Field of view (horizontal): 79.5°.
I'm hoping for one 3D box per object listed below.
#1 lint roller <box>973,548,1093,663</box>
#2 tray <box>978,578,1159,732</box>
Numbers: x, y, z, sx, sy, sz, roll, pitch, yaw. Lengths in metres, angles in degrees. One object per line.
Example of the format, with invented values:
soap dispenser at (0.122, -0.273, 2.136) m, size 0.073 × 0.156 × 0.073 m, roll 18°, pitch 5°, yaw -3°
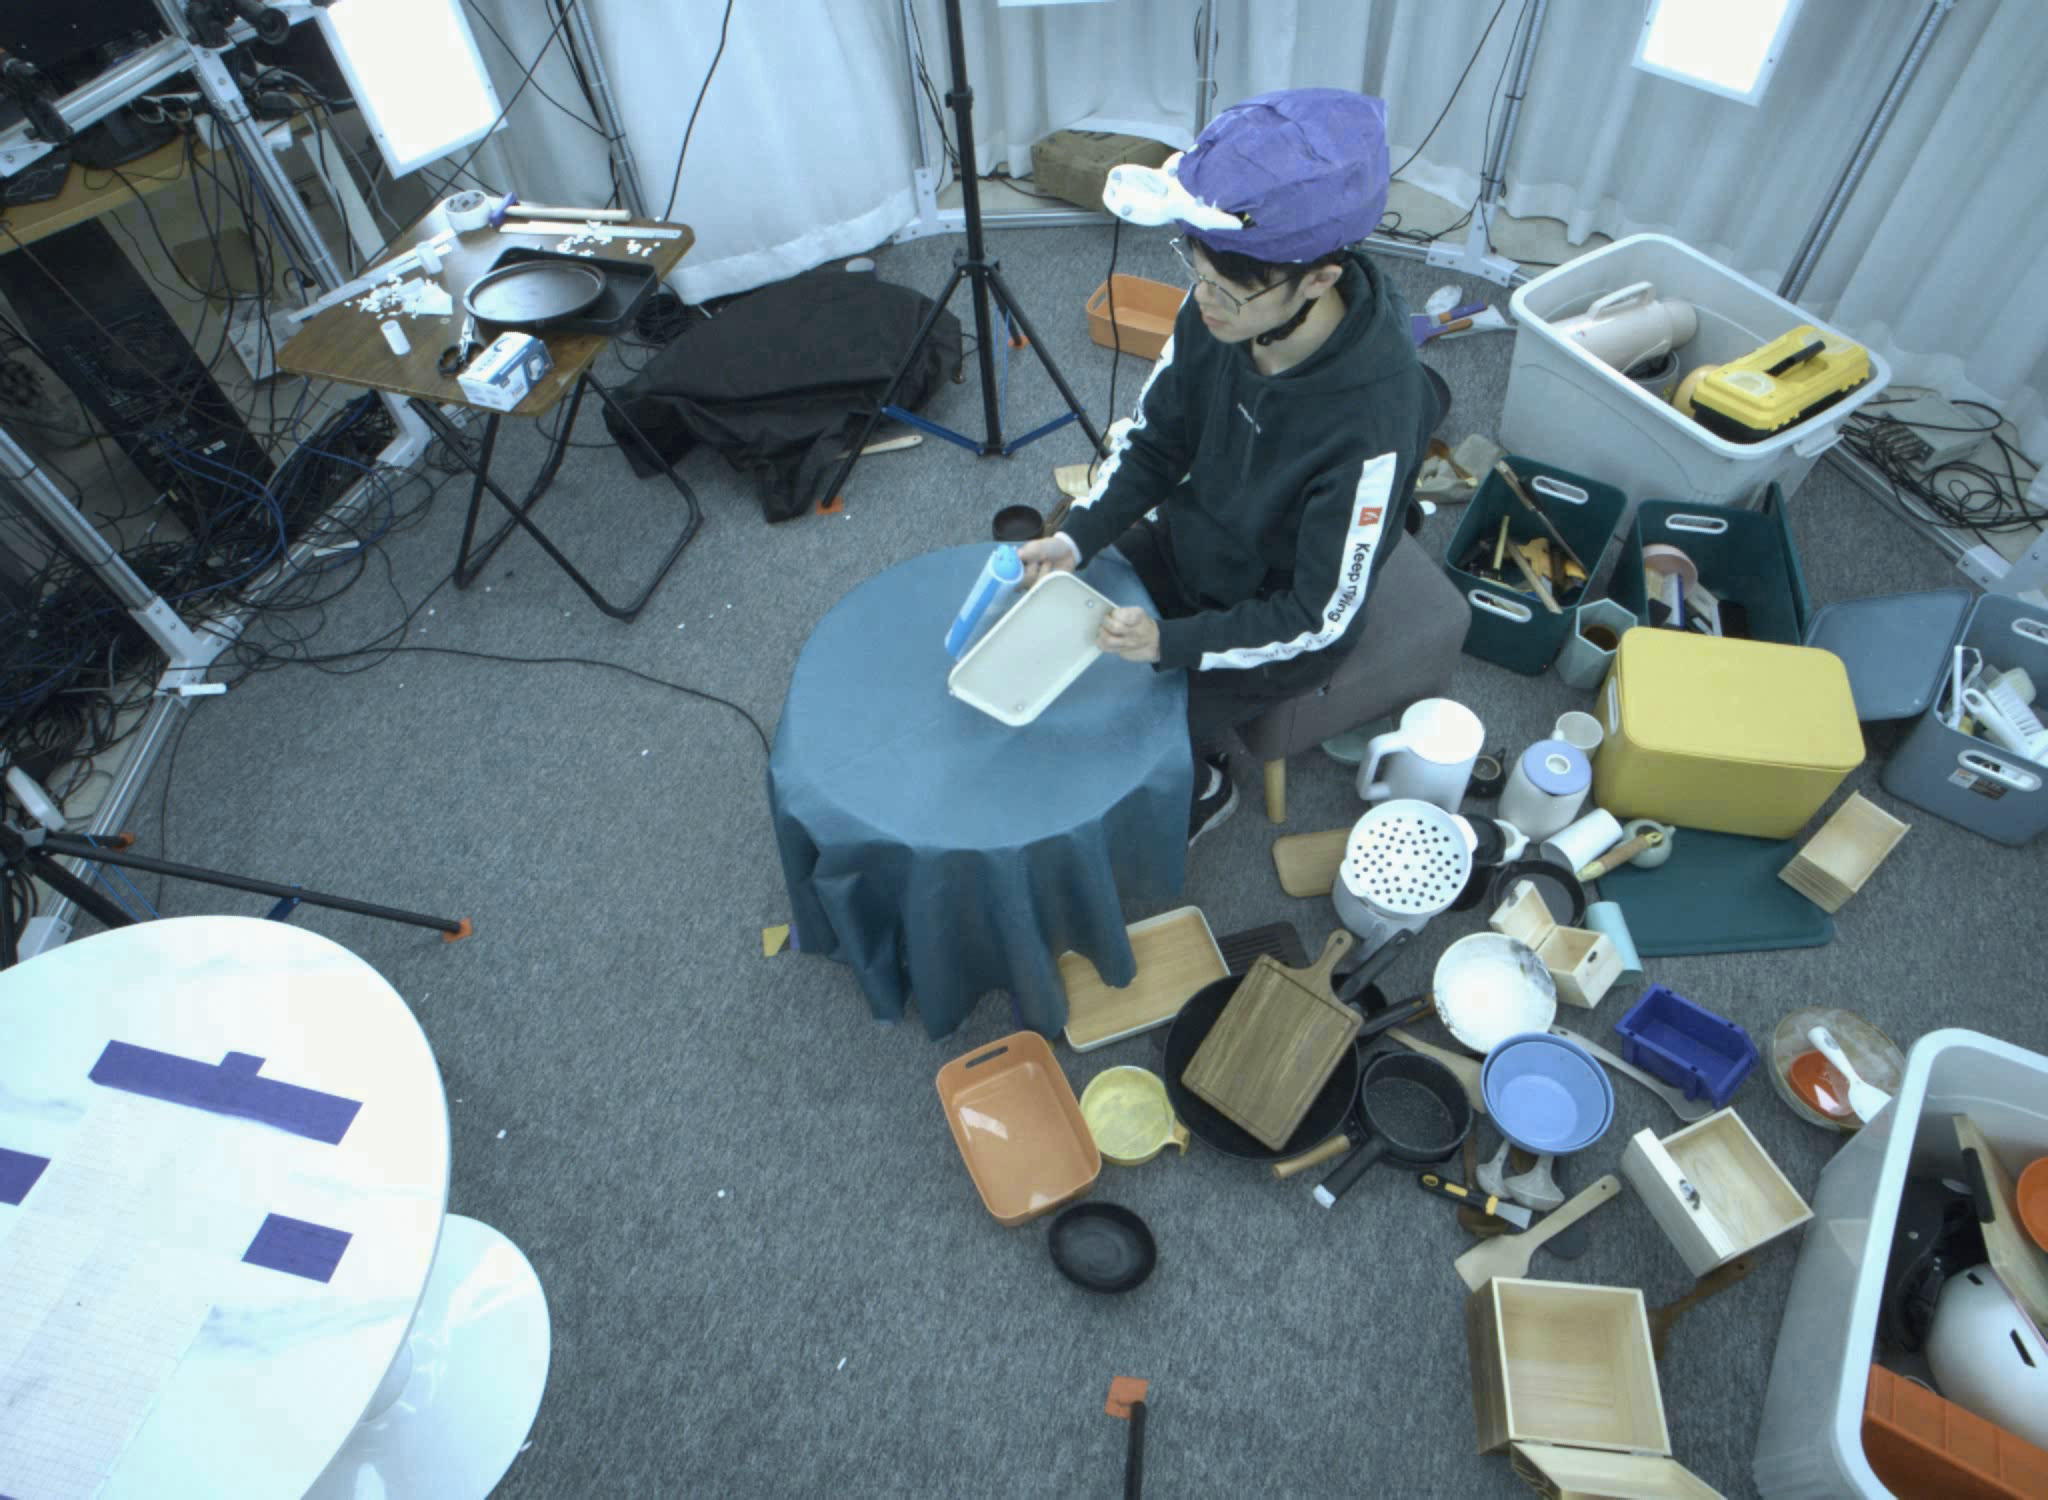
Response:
lint roller at (0.020, -0.225, 1.780) m, size 0.067 × 0.228 × 0.182 m, roll 47°, pitch 51°, yaw 8°
tray at (0.060, -0.129, 1.701) m, size 0.238 × 0.175 × 0.017 m, roll -43°, pitch 46°, yaw 19°
